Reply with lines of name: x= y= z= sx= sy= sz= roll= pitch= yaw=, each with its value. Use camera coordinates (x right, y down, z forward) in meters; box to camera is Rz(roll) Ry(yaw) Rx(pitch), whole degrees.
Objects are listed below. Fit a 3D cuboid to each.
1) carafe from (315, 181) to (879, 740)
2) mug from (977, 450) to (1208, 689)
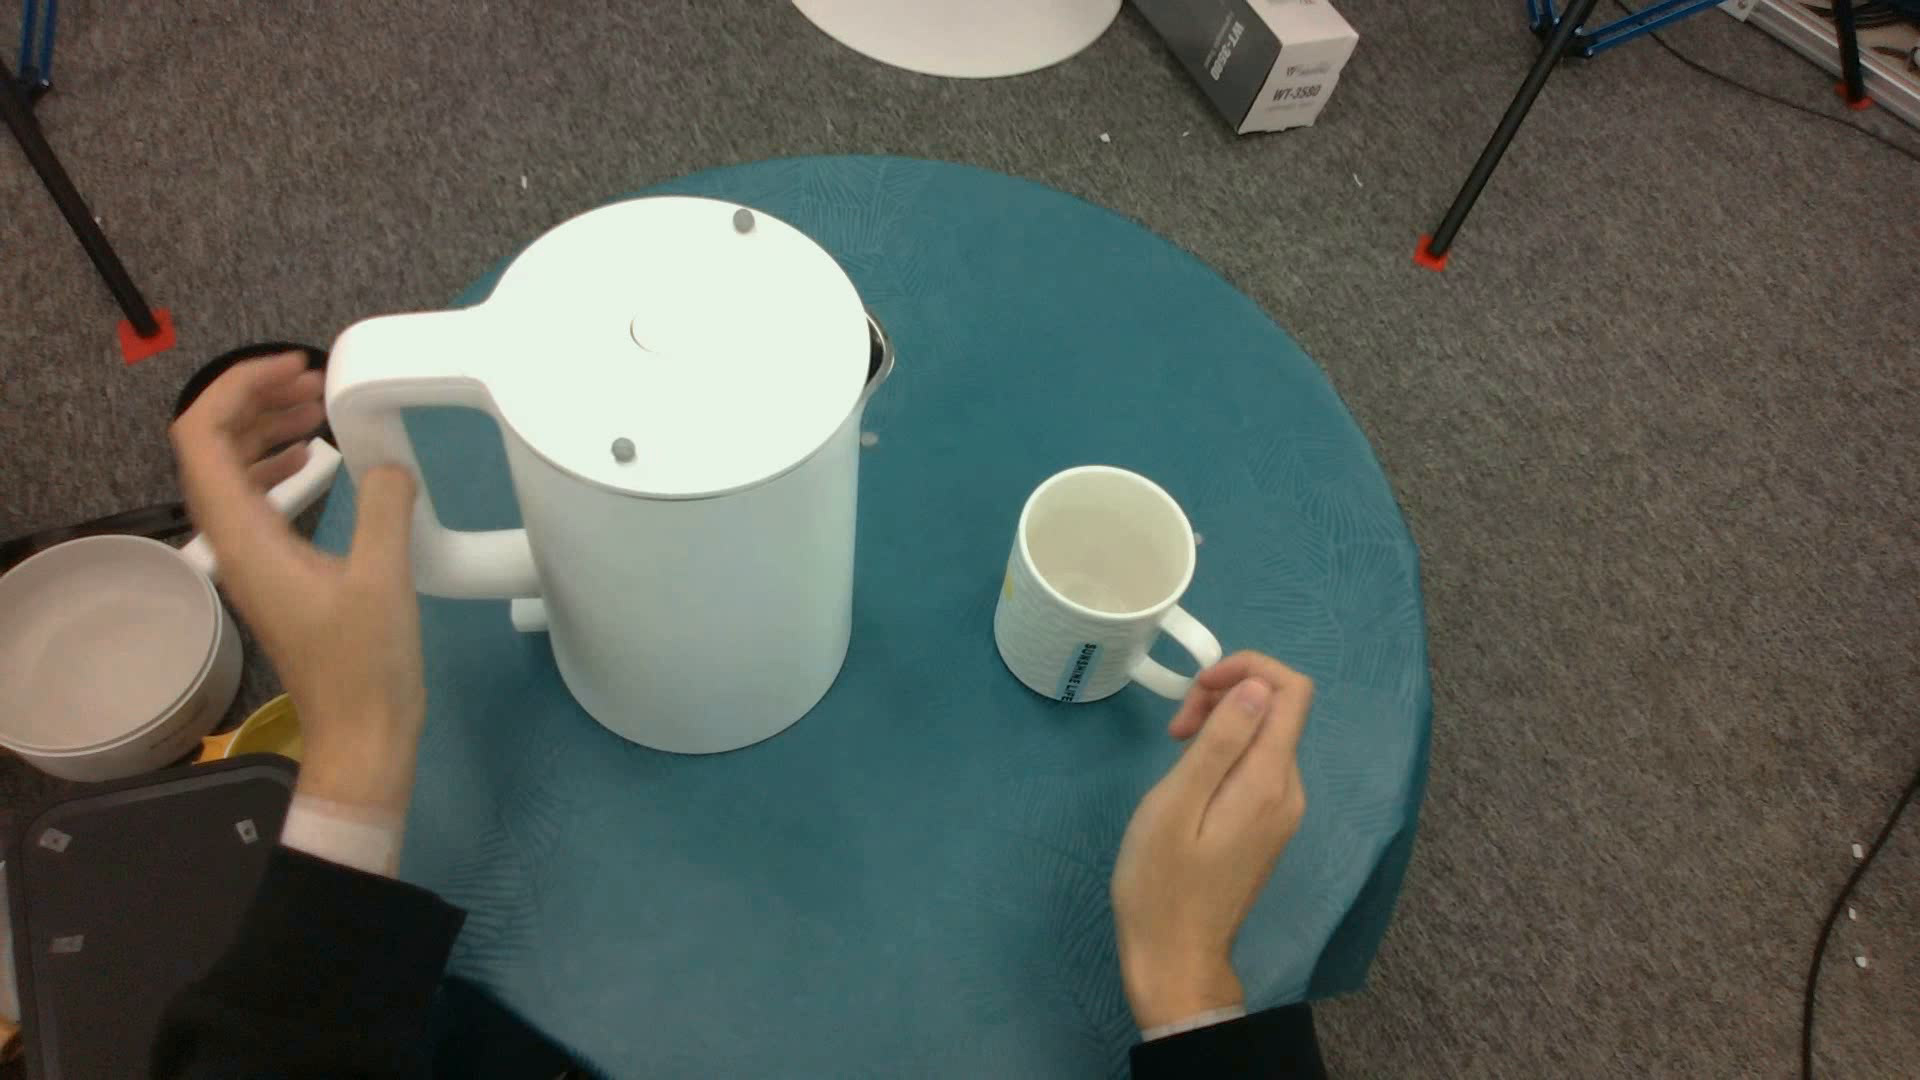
carafe: x=-0.152 y=-0.026 z=0.612 sx=0.213 sy=0.239 sz=0.152 roll=-2 pitch=58 yaw=-11
mug: x=0.069 y=0.028 z=0.690 sx=0.118 sy=0.101 sz=0.085 roll=39 pitch=61 yaw=14
